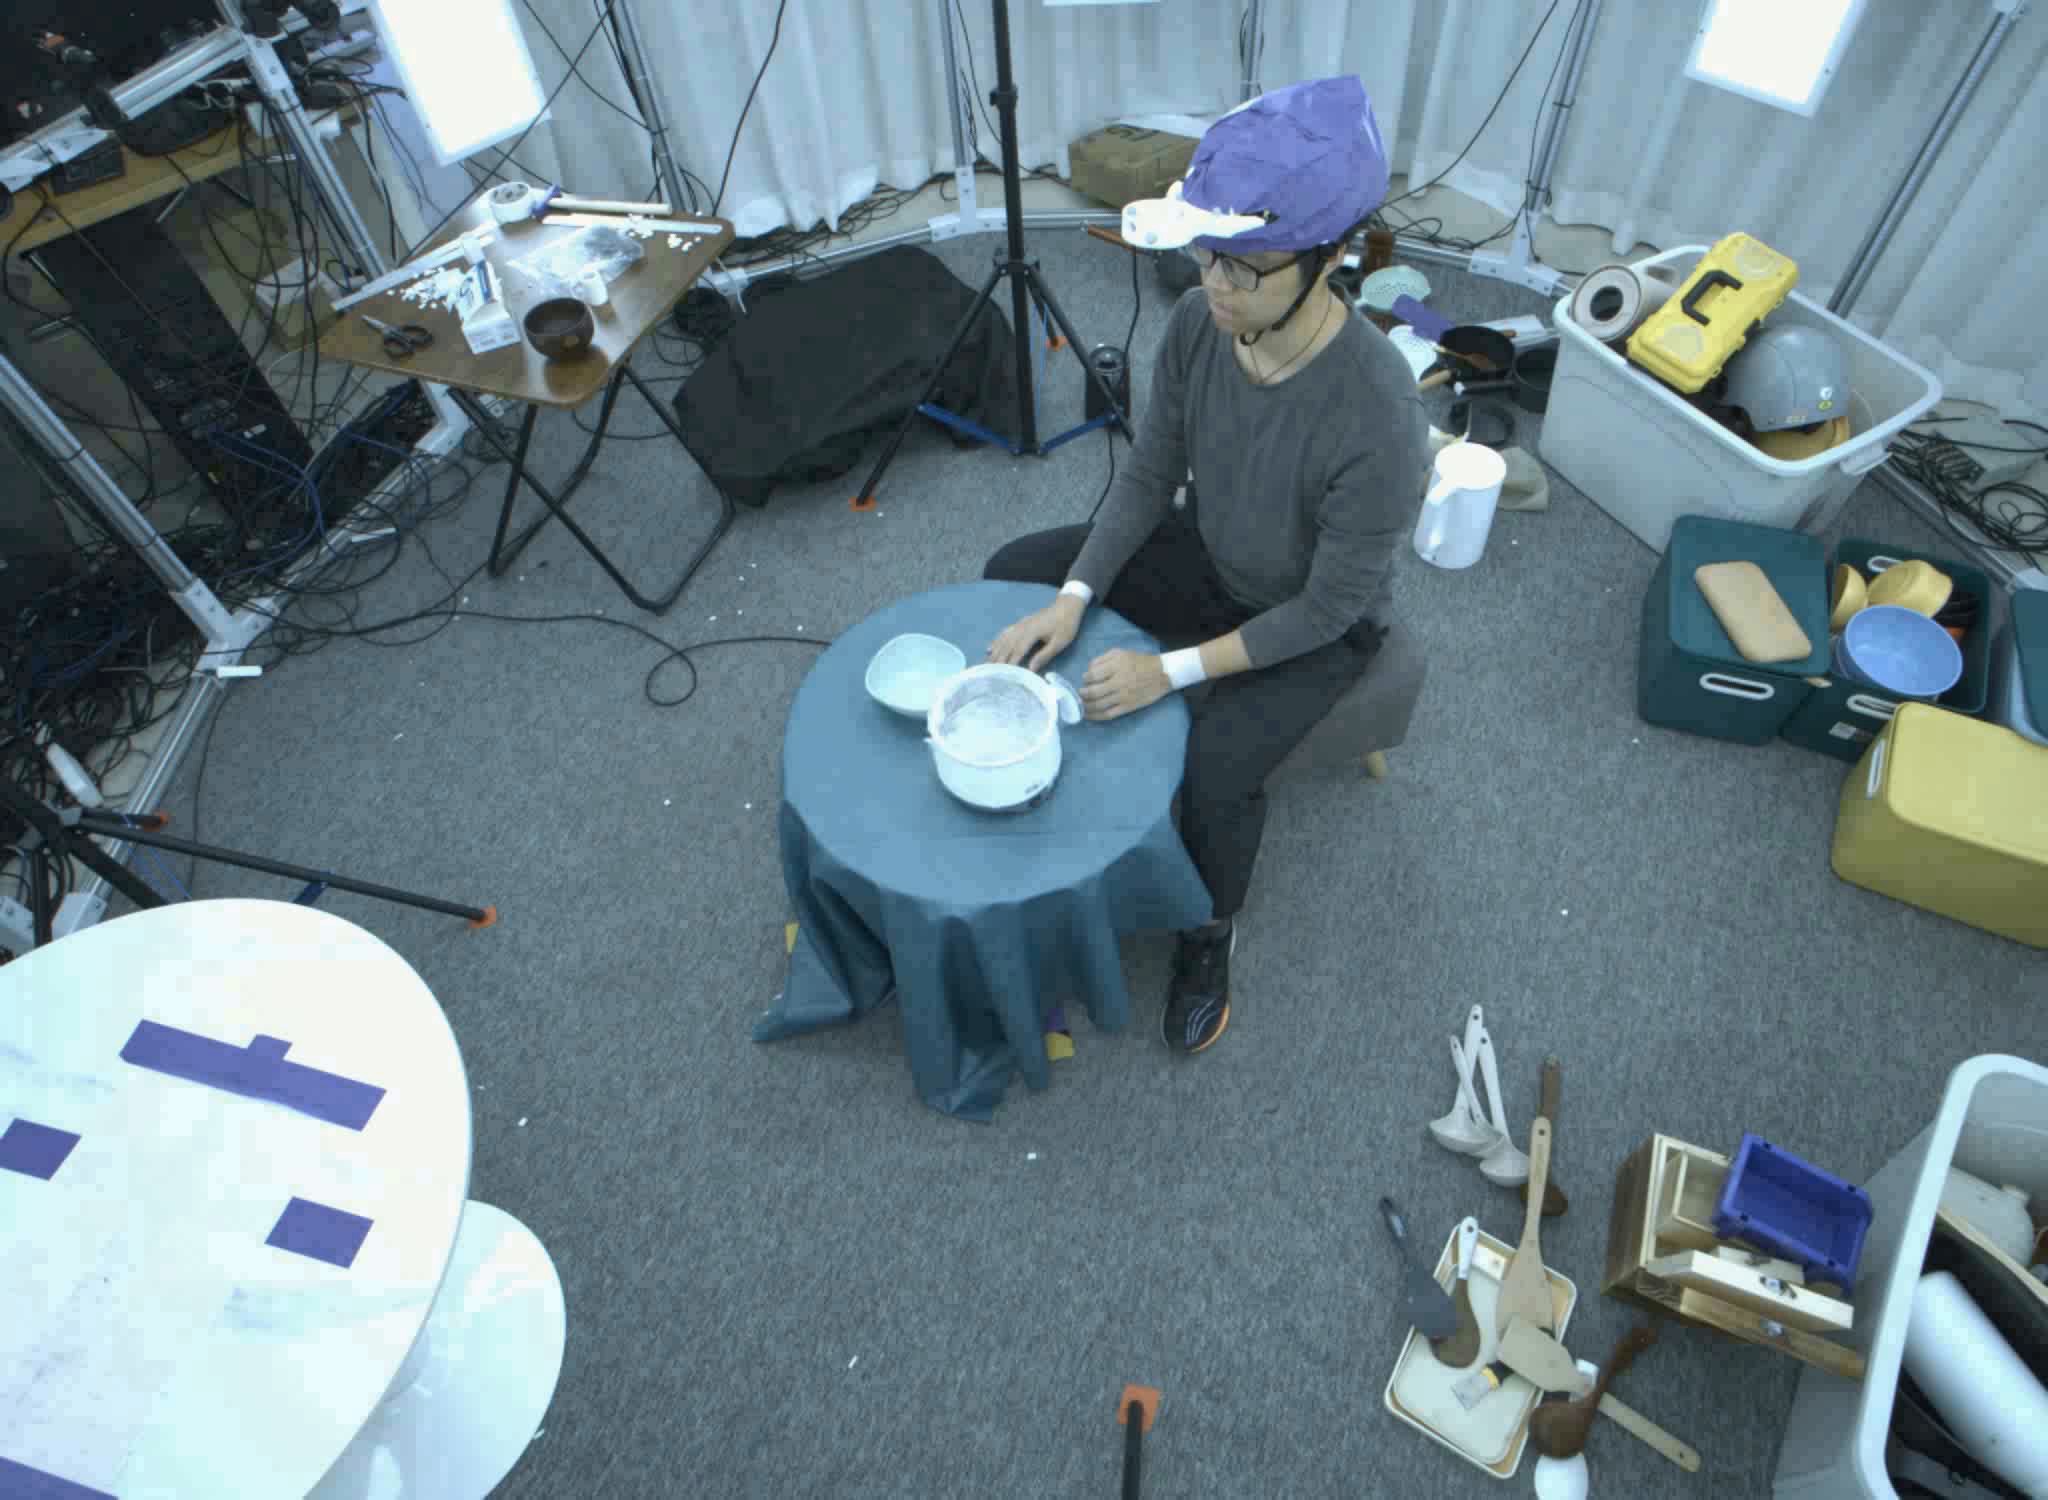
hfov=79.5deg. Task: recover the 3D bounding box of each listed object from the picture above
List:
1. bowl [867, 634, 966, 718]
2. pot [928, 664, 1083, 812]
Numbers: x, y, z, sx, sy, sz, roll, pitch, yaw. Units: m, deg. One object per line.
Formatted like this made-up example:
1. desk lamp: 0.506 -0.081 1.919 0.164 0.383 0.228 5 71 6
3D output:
1. bowl: -0.158 -0.101 1.836 0.151 0.059 0.150 -1 56 3
2. pot: -0.017 -0.027 1.730 0.235 0.138 0.175 -33 60 -21
